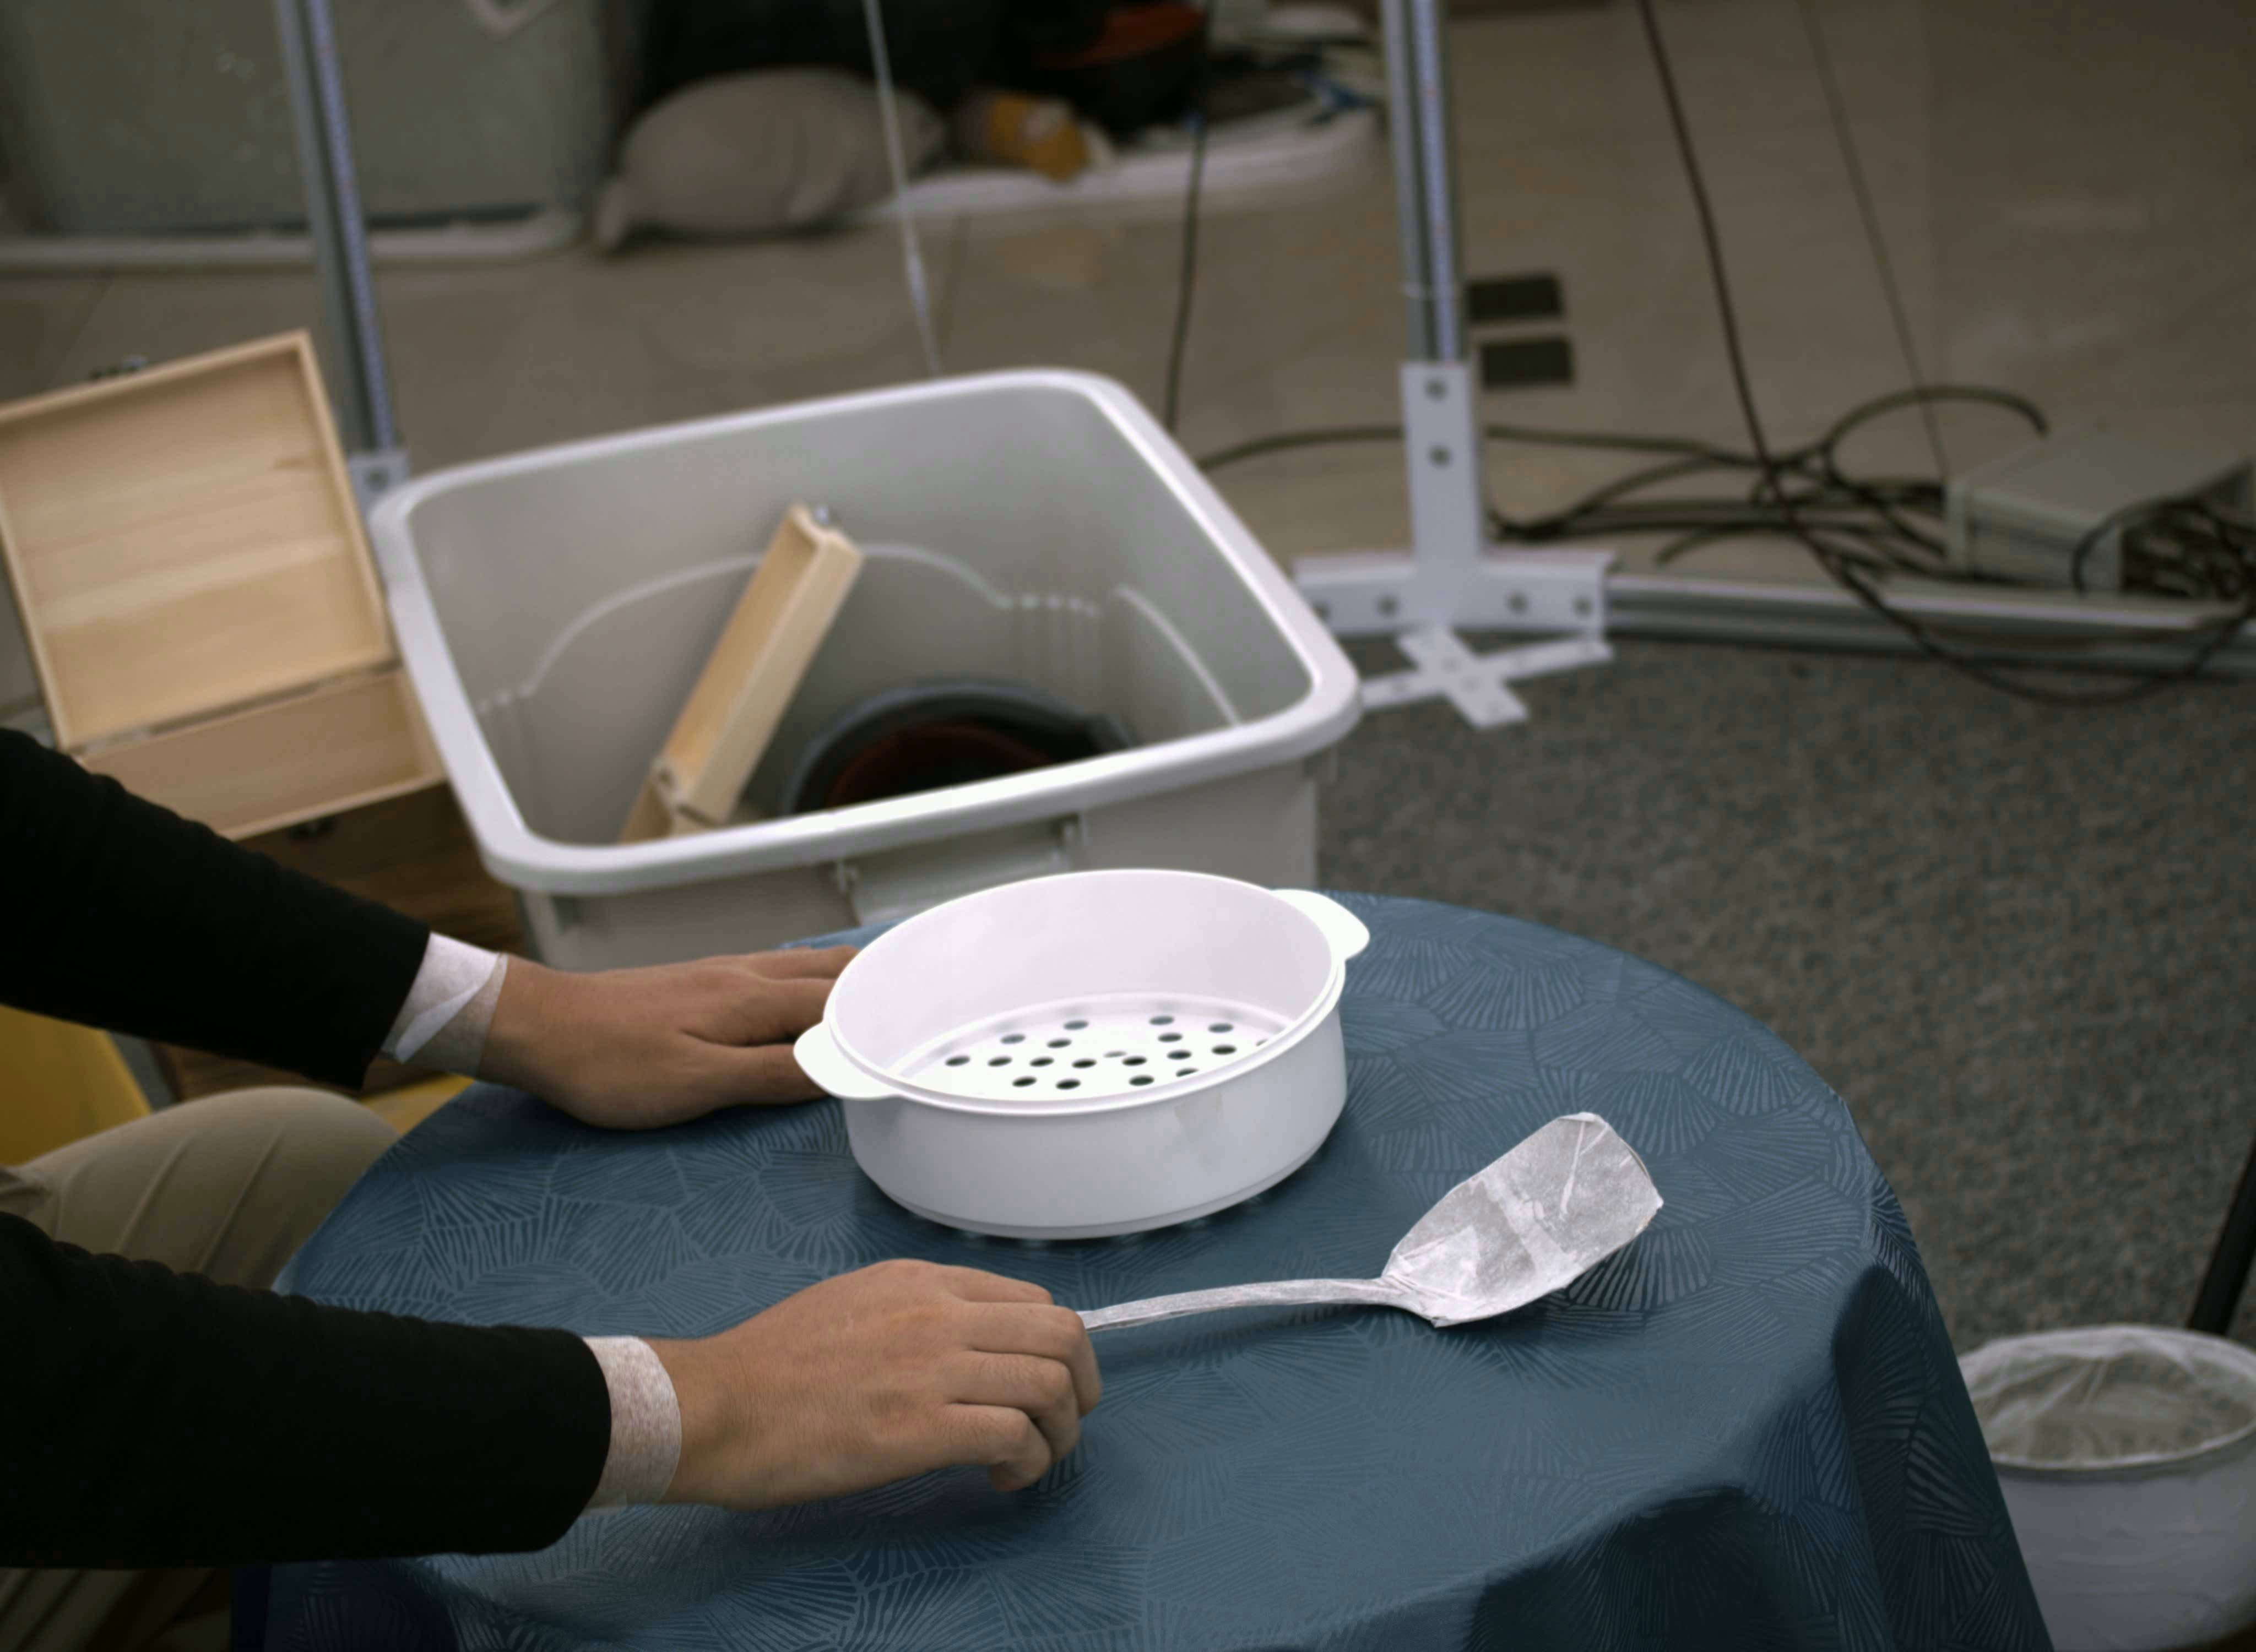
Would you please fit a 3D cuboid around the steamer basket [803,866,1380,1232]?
[{"bbox_3d":[-0.009,0.086,2.179,0.229,0.070,0.199,-17,26,-19],"label":"steamer basket"}]

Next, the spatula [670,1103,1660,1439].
[{"bbox_3d":[0.013,0.169,2.036,0.364,0.045,0.097,-10,28,-8],"label":"spatula"}]
